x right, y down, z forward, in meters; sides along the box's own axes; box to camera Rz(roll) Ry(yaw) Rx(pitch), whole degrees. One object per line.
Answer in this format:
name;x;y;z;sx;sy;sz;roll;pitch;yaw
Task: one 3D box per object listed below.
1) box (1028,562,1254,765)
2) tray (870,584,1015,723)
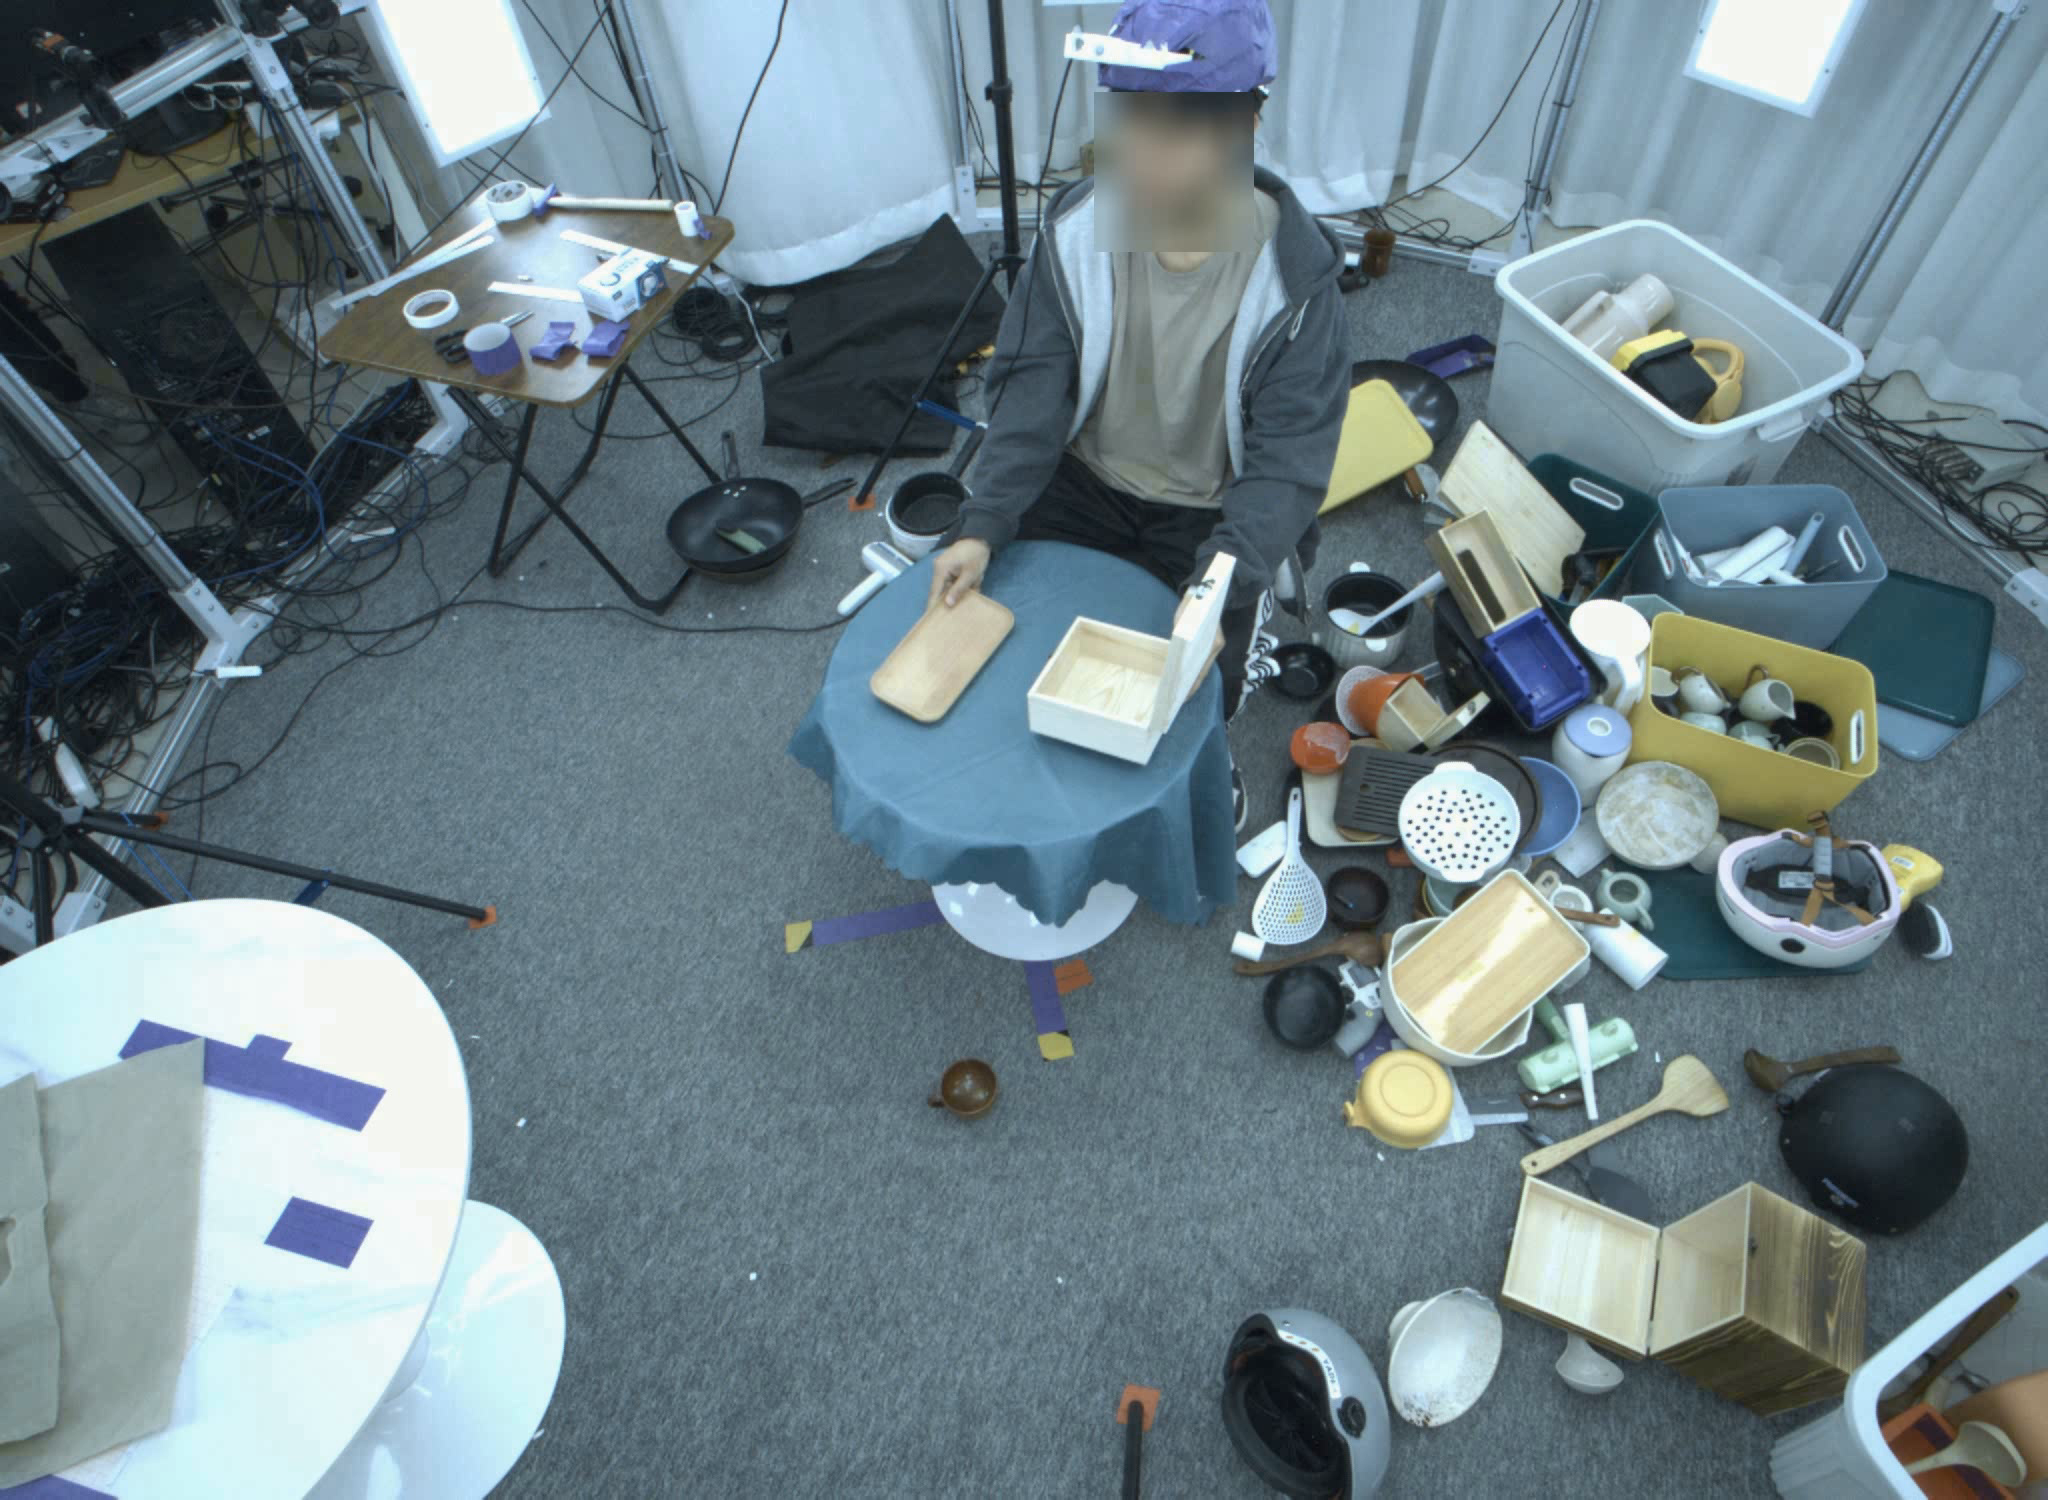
box;0.155;-0.139;1.716;0.262;0.256;0.182;17;48;16
tray;-0.124;-0.150;1.880;0.129;0.023;0.251;32;60;9
